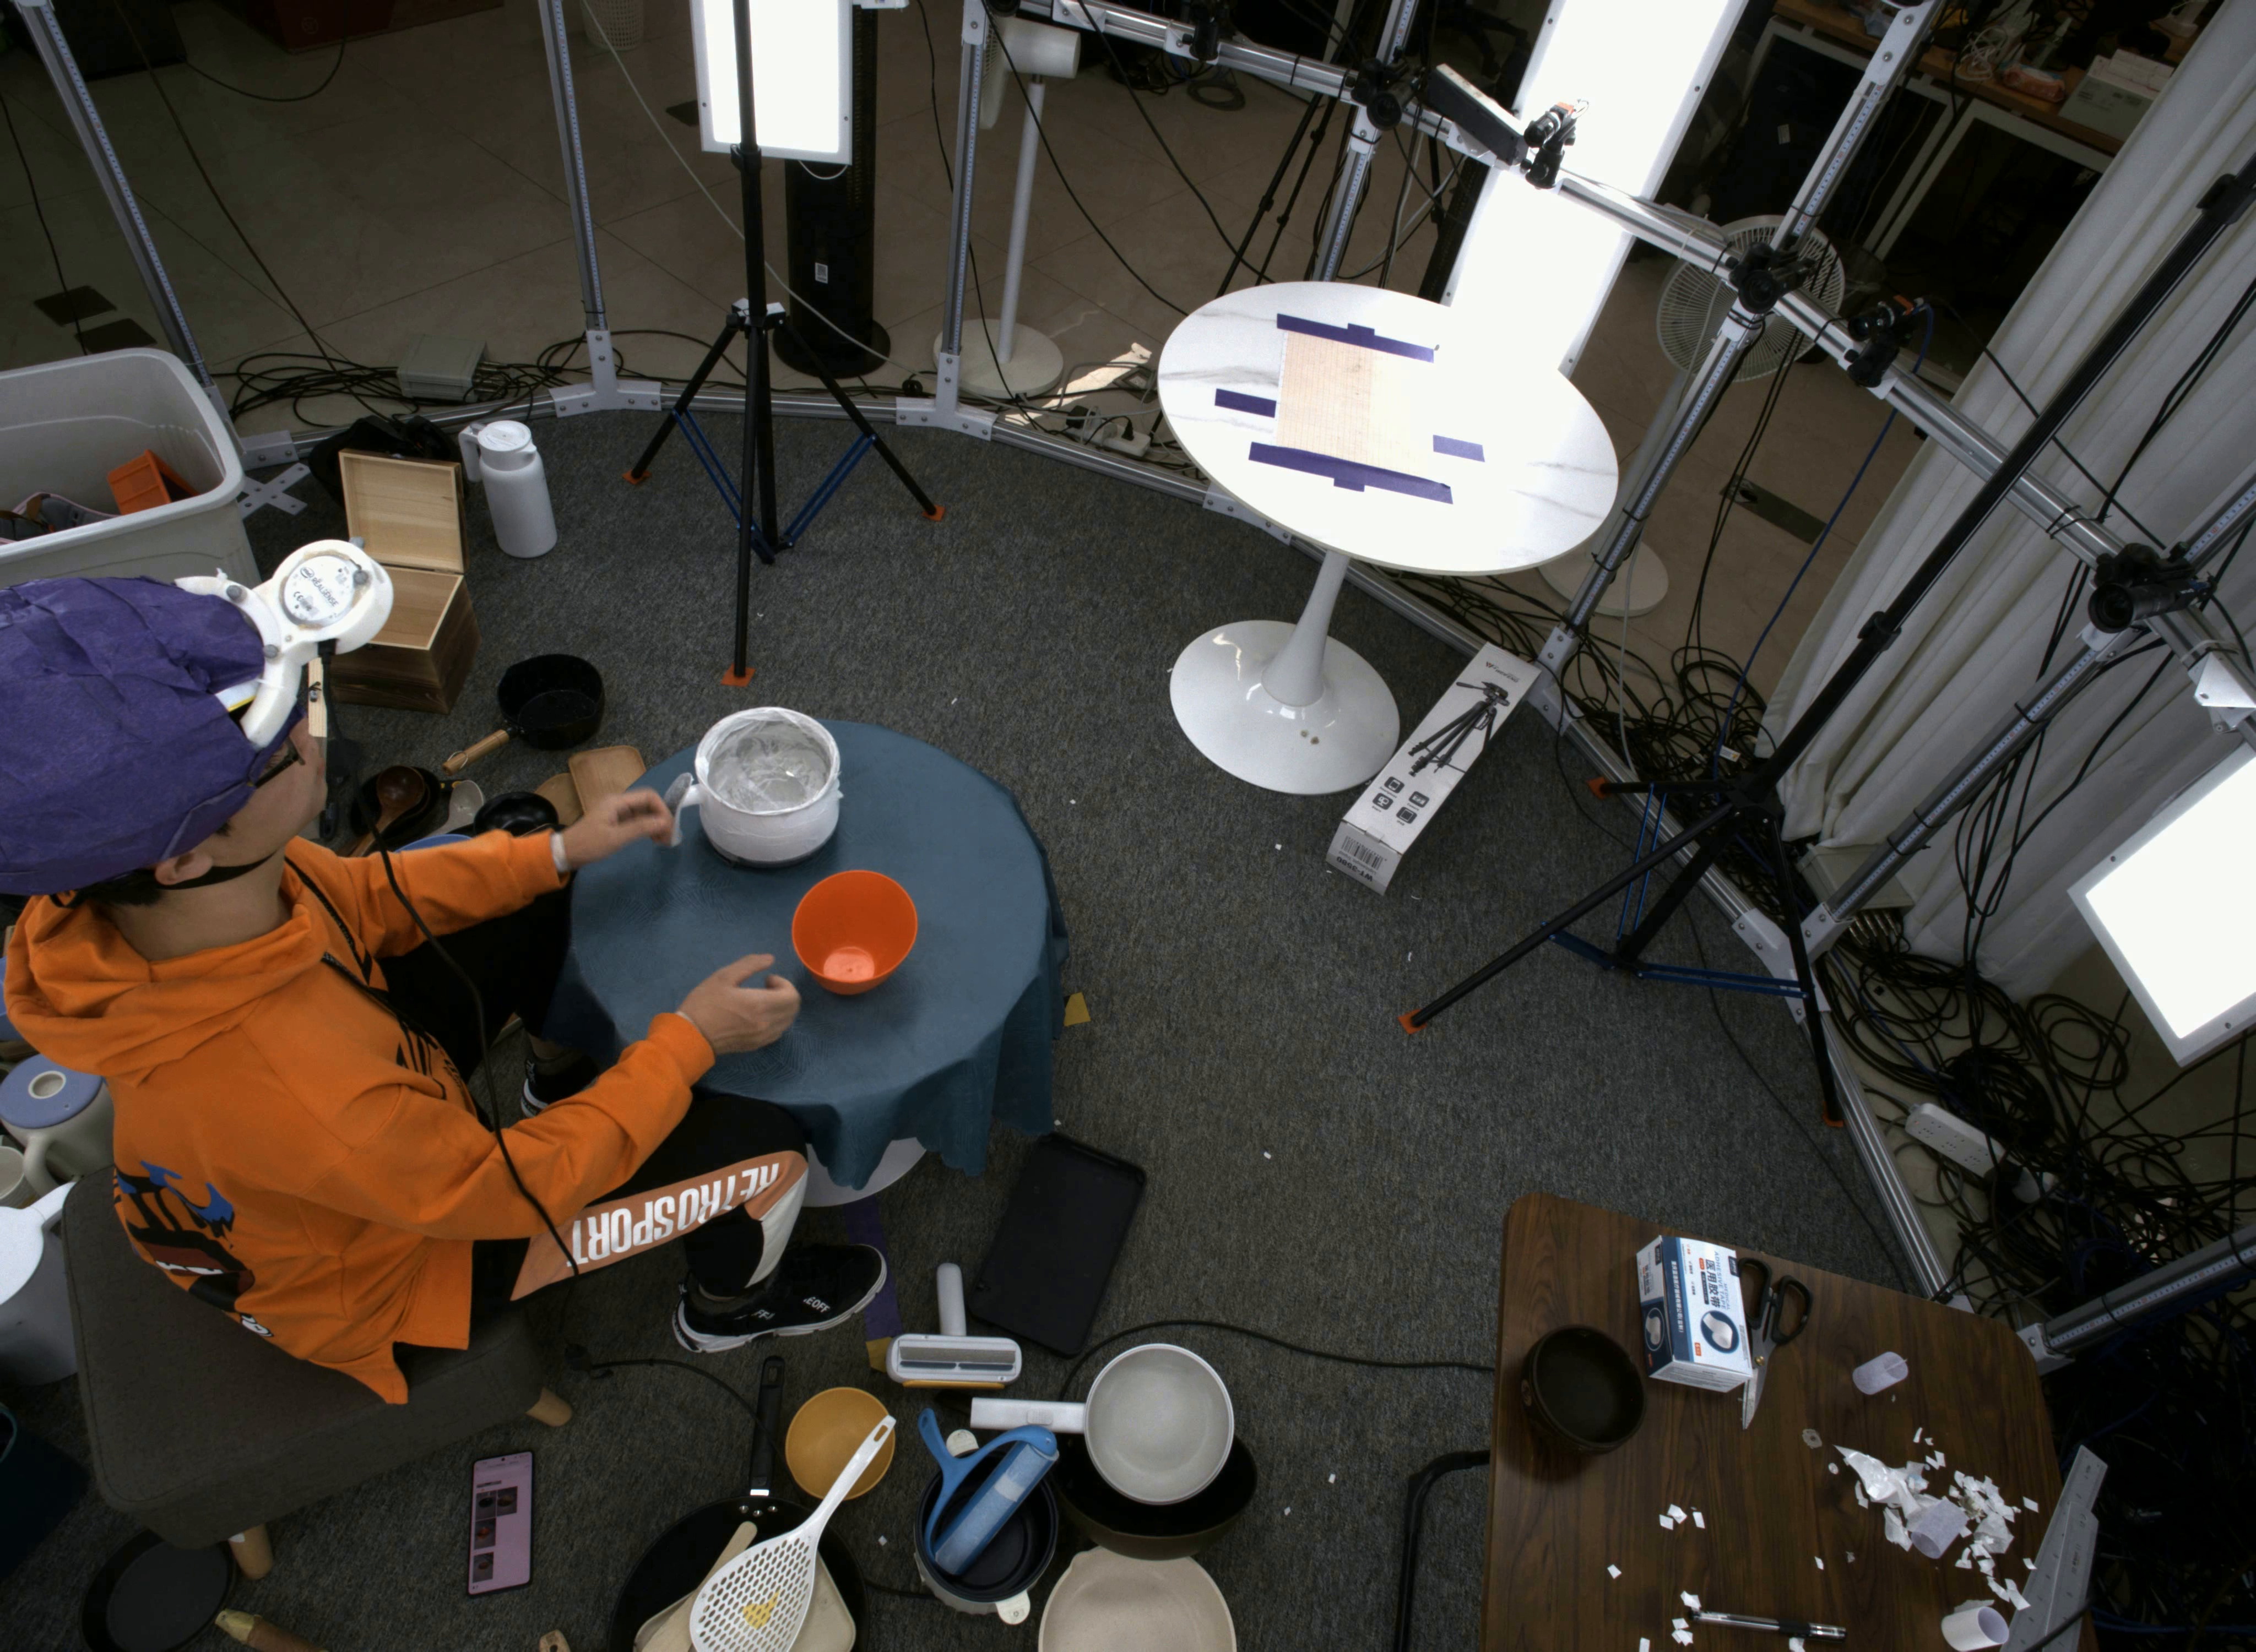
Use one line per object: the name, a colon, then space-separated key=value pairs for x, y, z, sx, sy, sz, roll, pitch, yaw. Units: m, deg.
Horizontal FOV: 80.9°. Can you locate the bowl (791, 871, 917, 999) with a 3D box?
bowl: x=-0.330 y=0.143 z=1.570 sx=0.147 sy=0.107 sz=0.145 roll=7 pitch=53 yaw=-7

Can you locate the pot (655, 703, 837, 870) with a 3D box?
pot: x=-0.485 y=-0.039 z=1.638 sx=0.235 sy=0.139 sz=0.174 roll=-17 pitch=58 yaw=-26
